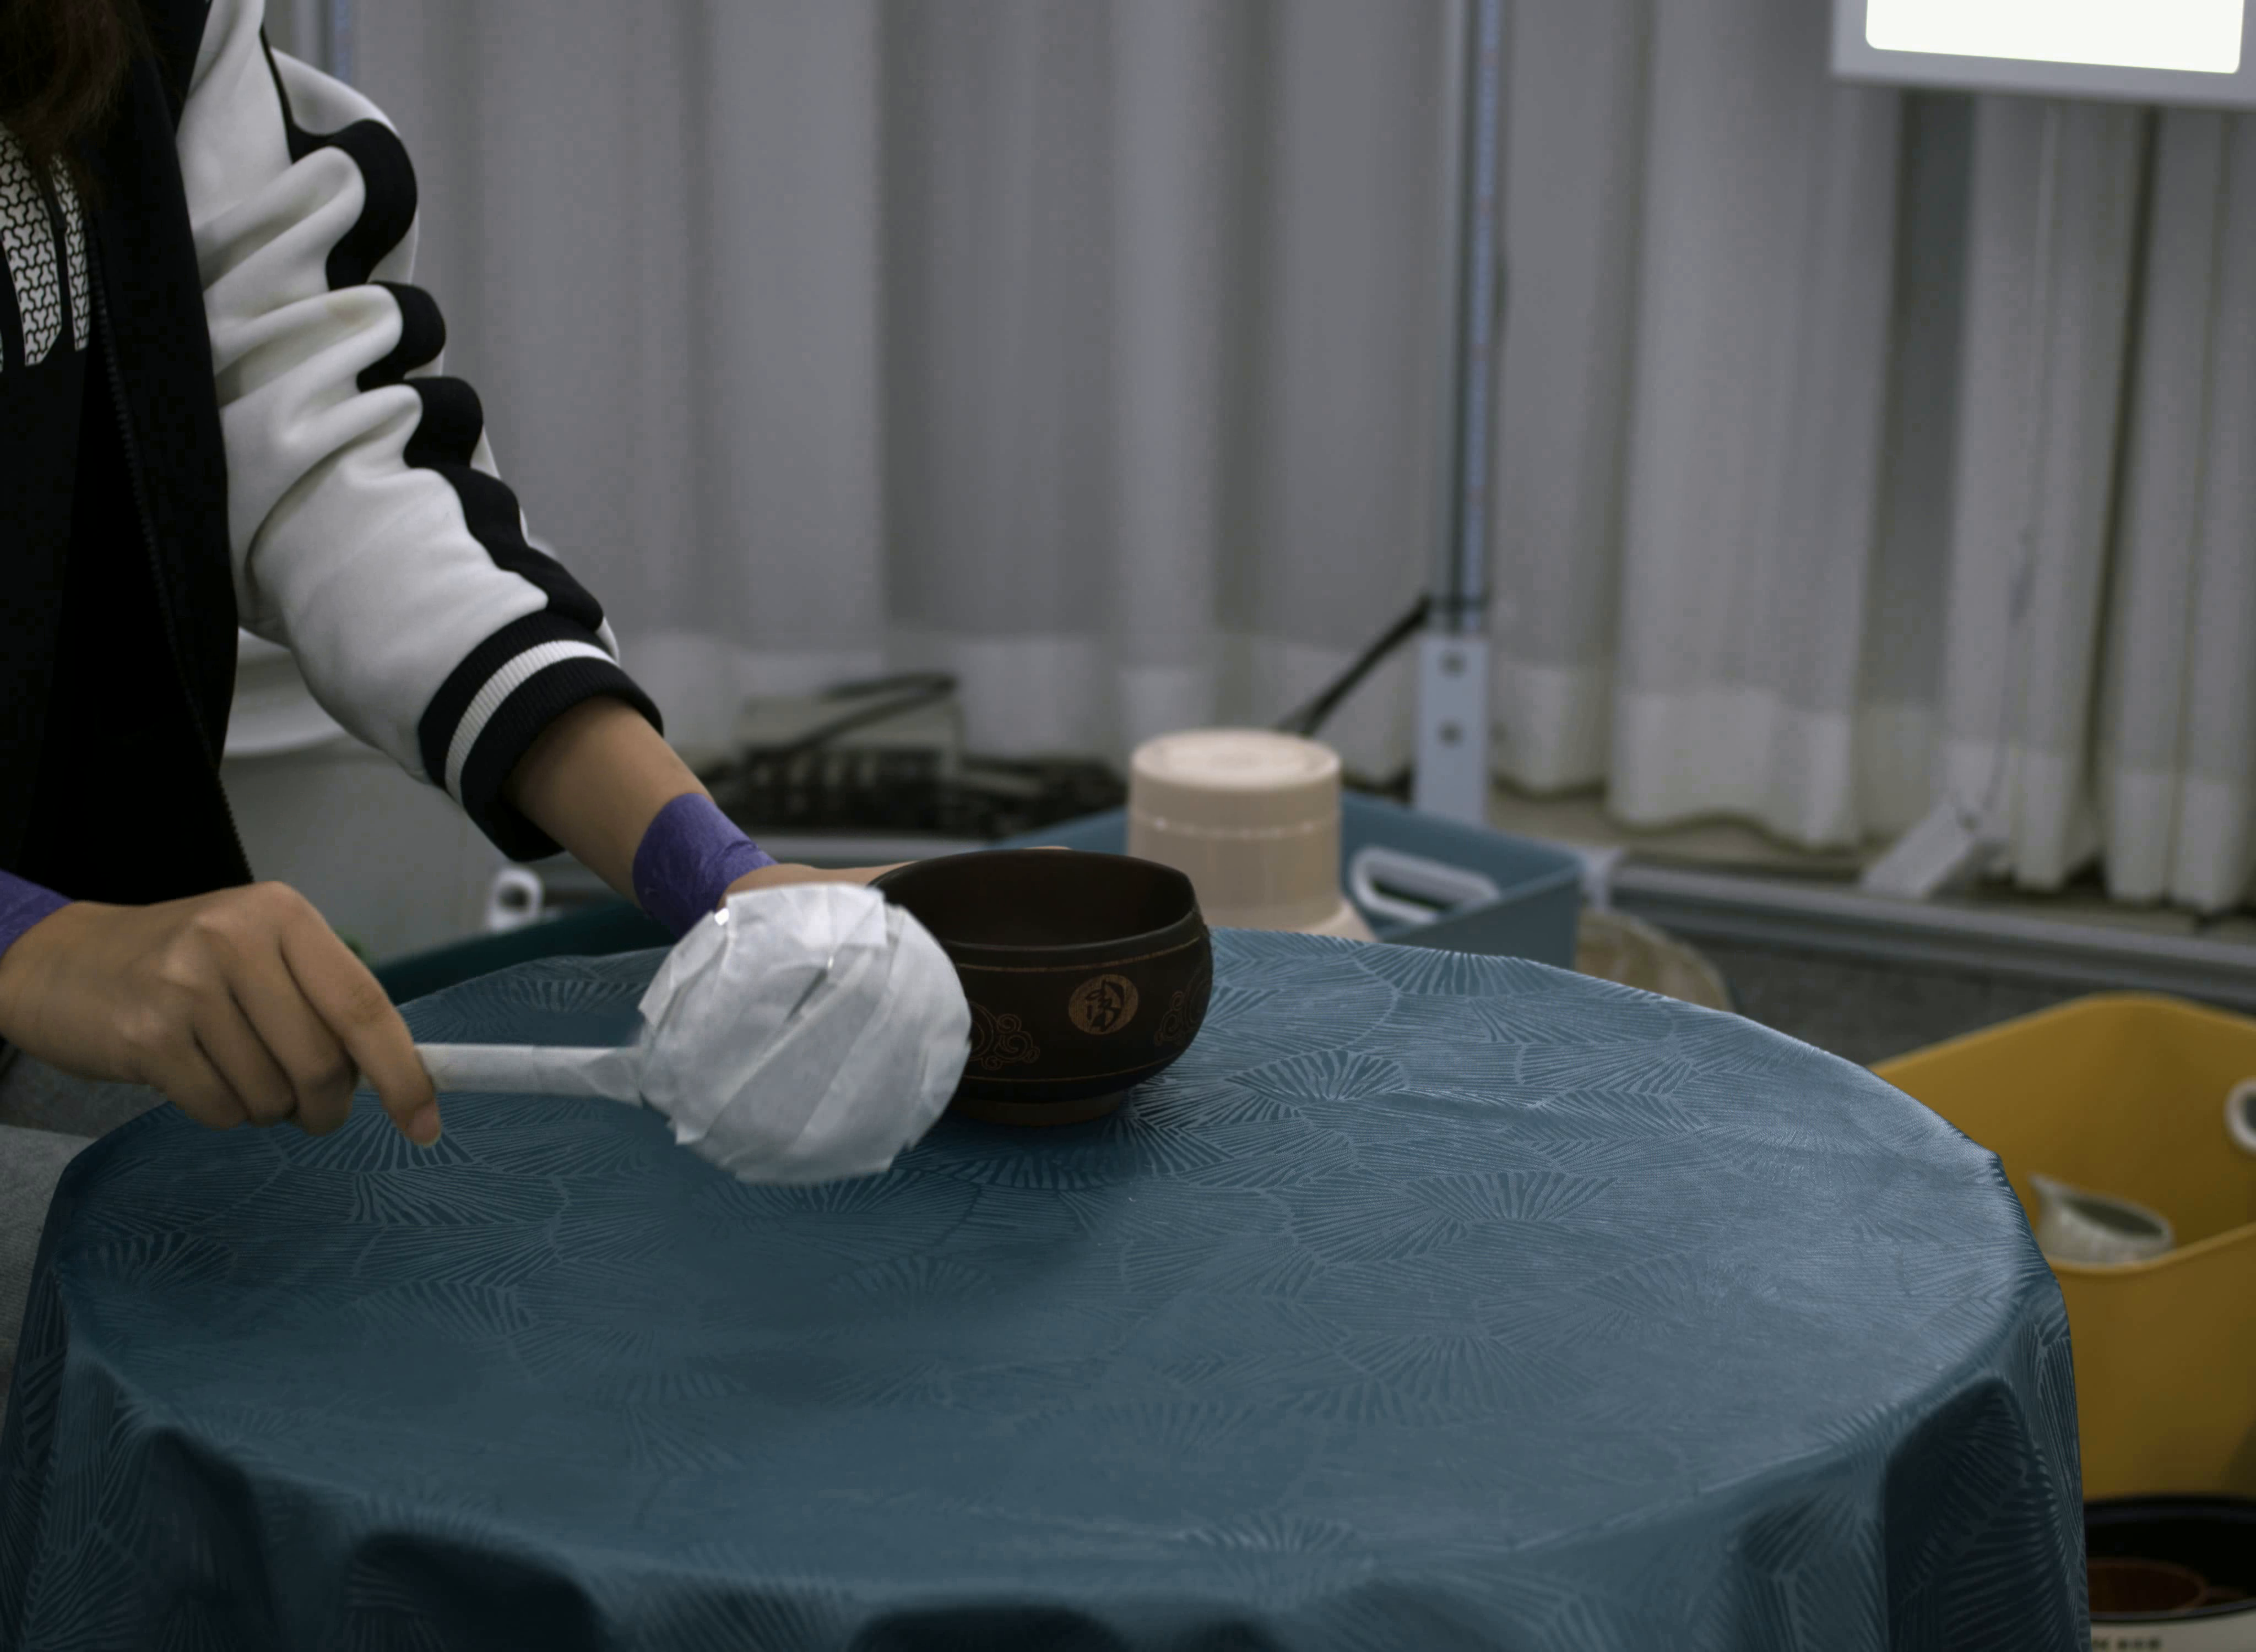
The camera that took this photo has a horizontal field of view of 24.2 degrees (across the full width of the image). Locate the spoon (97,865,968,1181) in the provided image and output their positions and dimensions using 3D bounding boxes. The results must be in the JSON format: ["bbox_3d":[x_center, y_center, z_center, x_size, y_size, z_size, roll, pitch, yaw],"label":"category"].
[{"bbox_3d":[-0.176,0.062,1.531,0.274,0.102,0.059,-2,24,30],"label":"spoon"}]

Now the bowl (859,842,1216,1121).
[{"bbox_3d":[-0.030,0.054,1.695,0.117,0.070,0.117,1,16,0],"label":"bowl"}]
